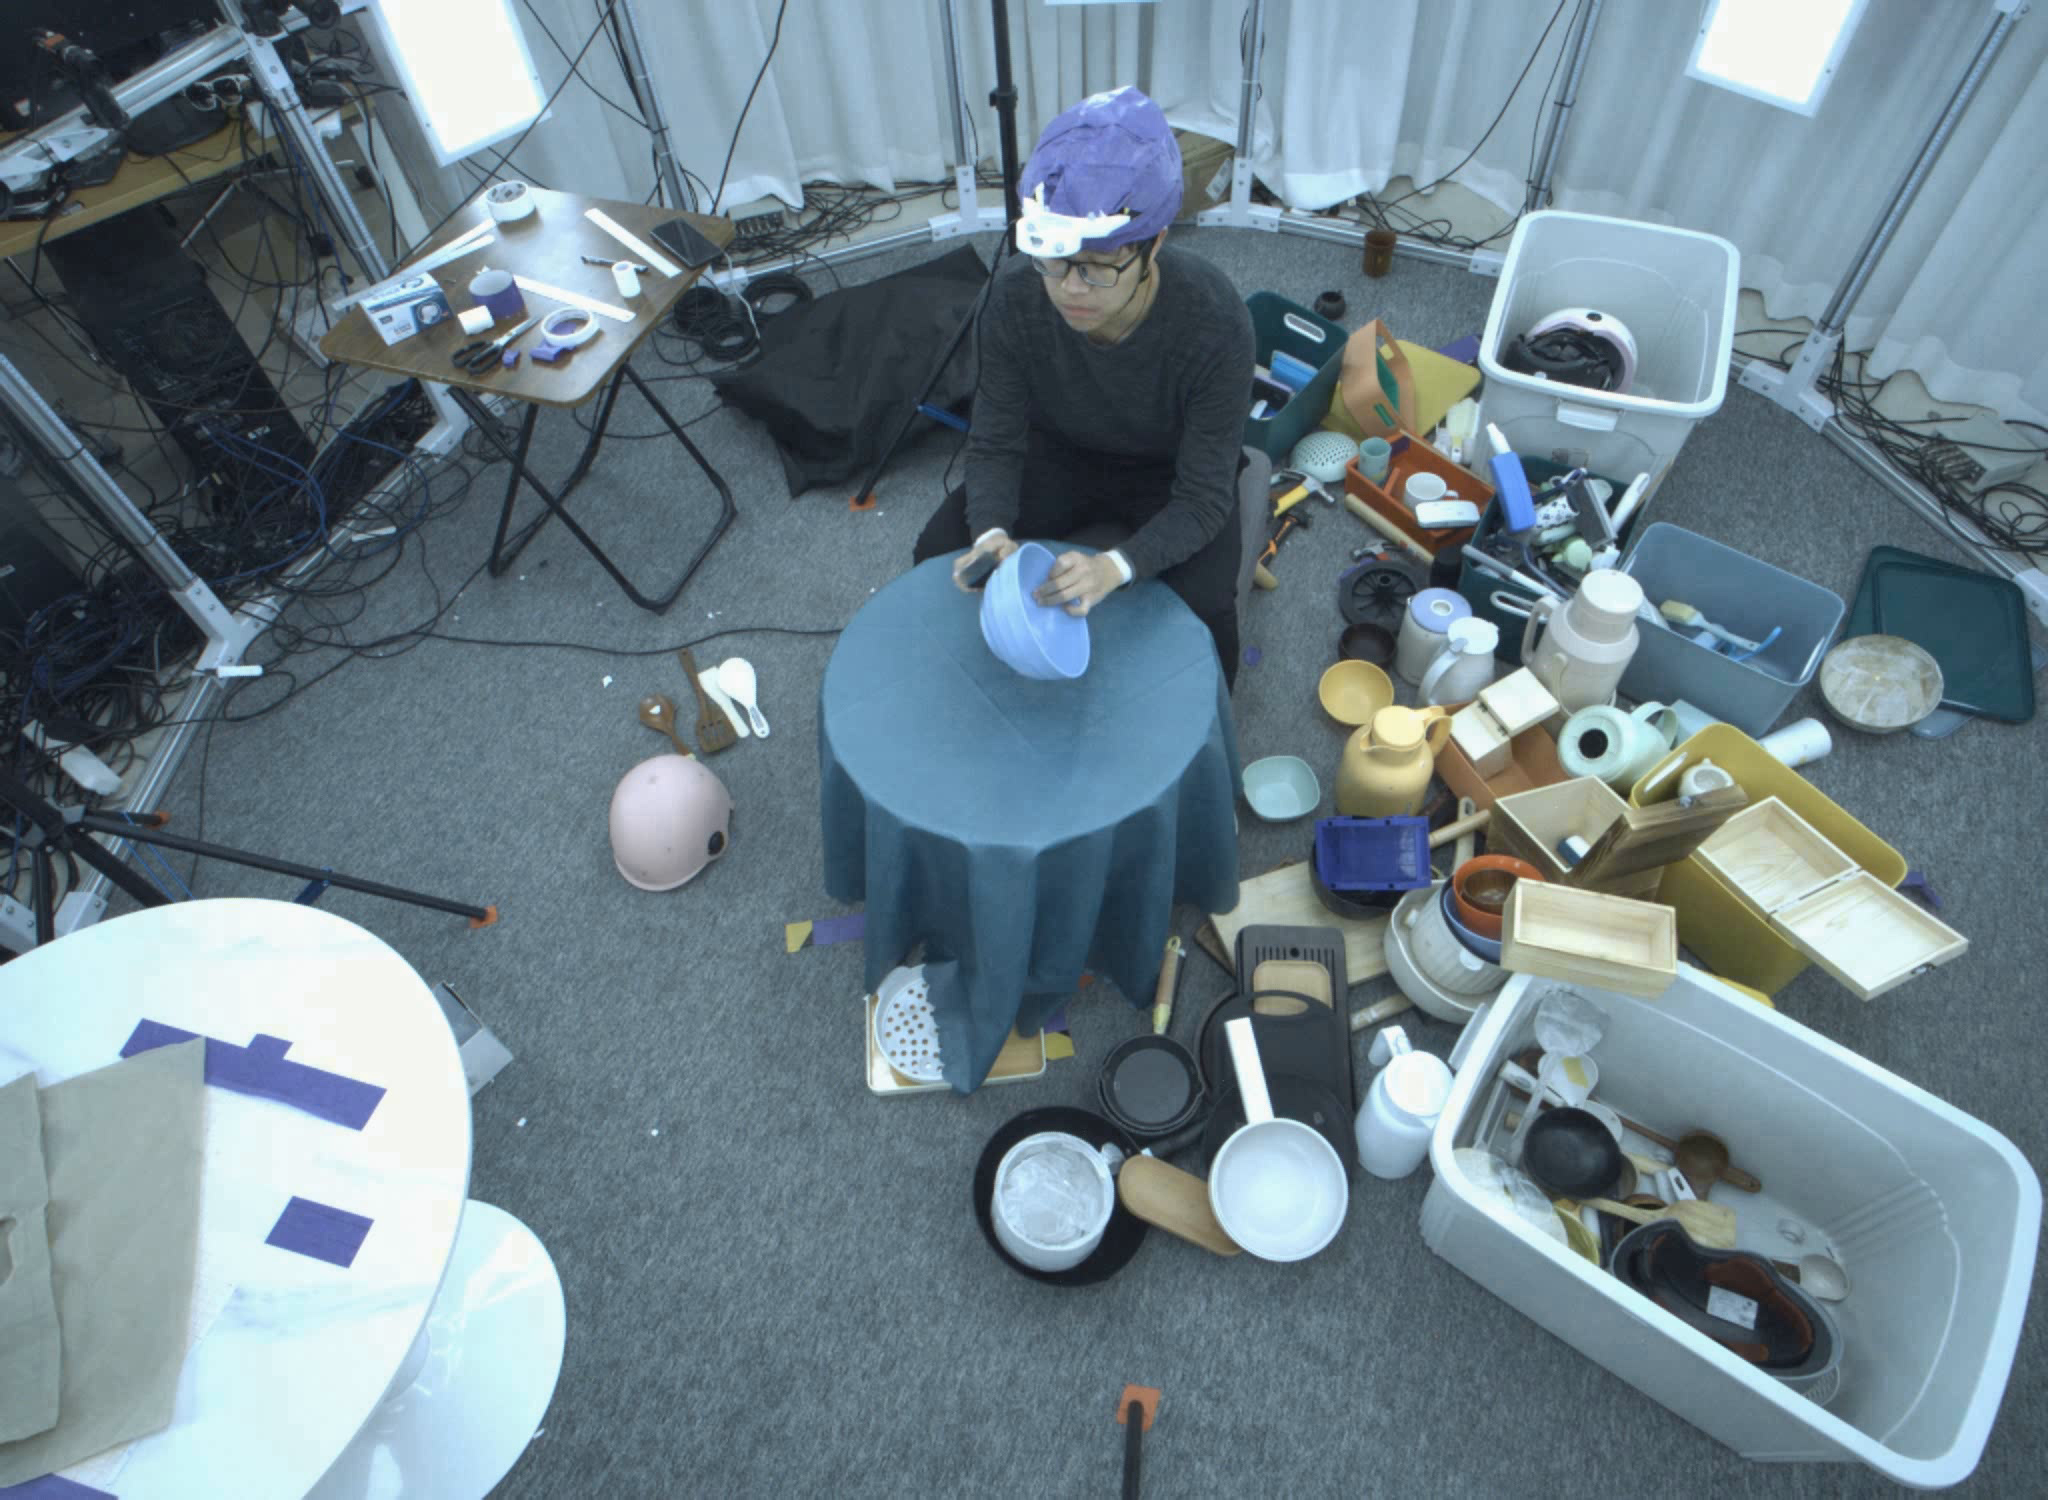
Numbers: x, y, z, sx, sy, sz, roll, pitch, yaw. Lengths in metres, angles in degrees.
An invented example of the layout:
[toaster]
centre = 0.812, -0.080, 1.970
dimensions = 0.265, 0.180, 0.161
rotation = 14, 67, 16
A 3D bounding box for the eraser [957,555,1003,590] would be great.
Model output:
[eraser]
centre = -0.061, -0.254, 1.752
dimensions = 0.053, 0.125, 0.030
rotation = -37, 94, 8

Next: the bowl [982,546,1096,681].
[bowl]
centre = 0.006, -0.176, 1.721
dimensions = 0.094, 0.201, 0.194
rotation = -25, 50, 29
